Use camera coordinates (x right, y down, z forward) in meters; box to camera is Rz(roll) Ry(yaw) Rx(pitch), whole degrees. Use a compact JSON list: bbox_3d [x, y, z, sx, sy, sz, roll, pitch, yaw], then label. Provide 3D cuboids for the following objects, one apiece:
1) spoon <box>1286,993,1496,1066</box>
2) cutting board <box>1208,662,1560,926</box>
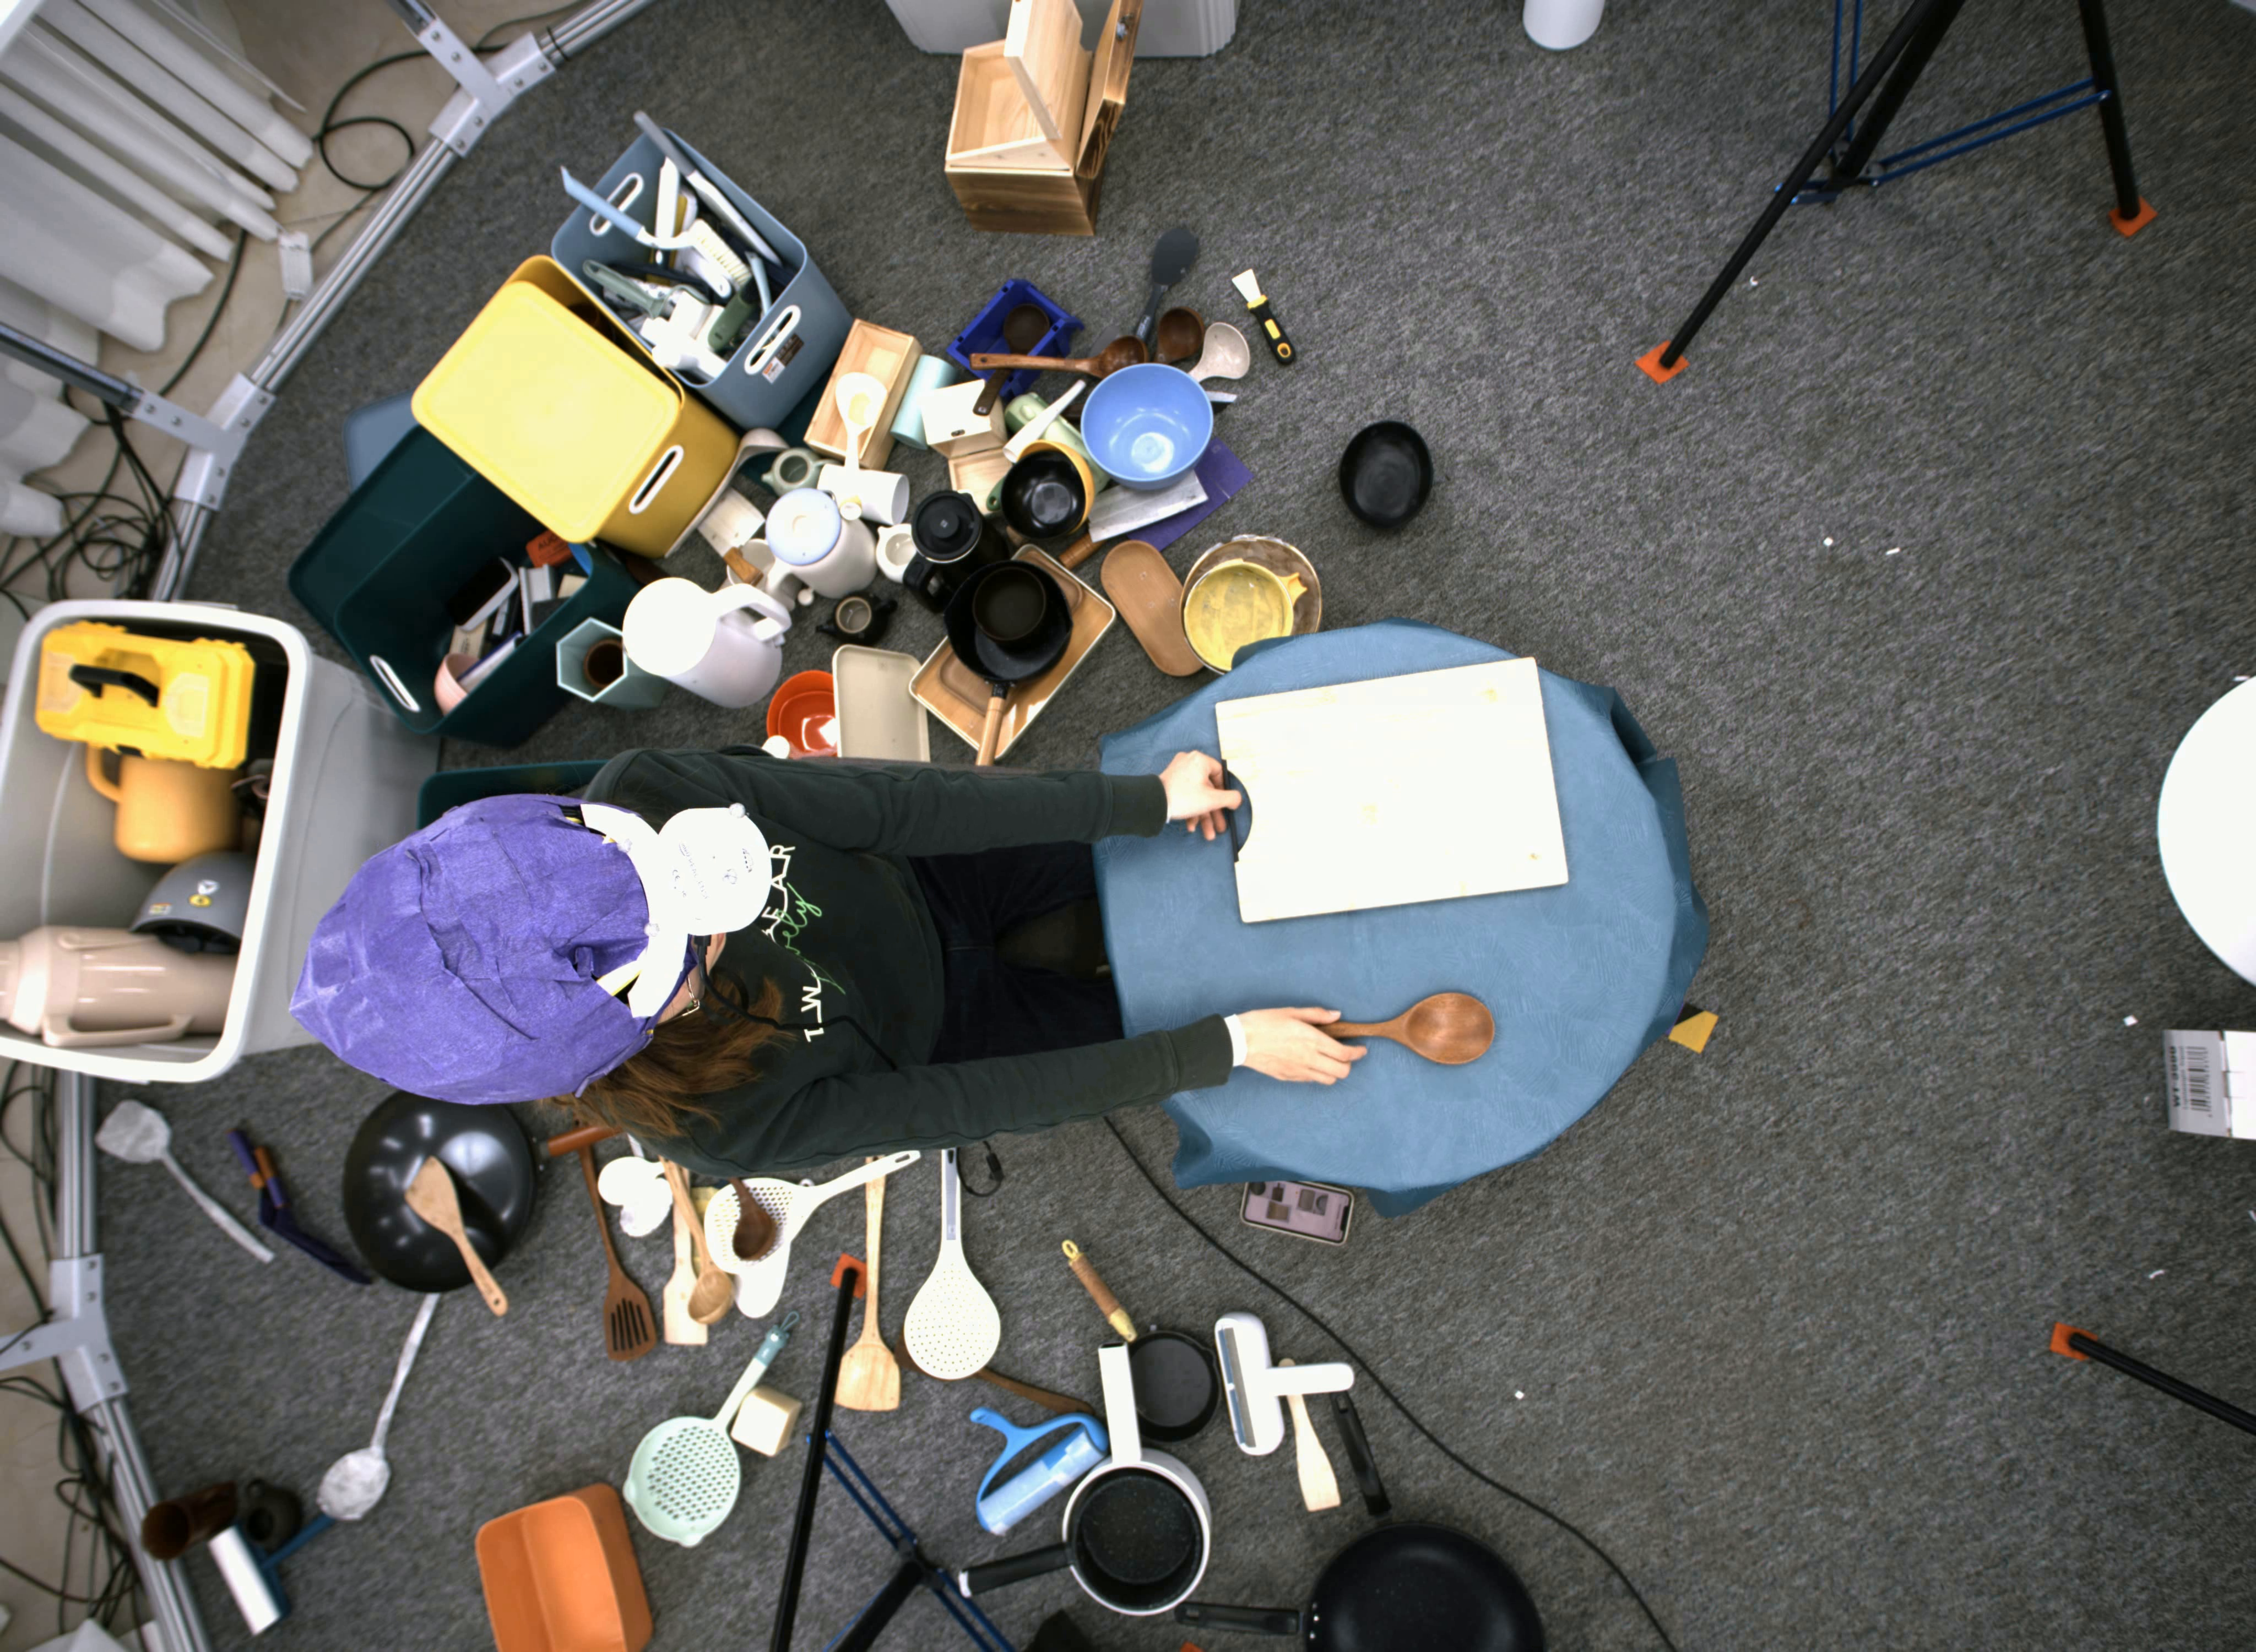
[{"bbox_3d":[0.274,0.213,1.445,0.217,0.017,0.075,-3,87,9],"label":"spoon"},{"bbox_3d":[0.271,-0.034,1.464,0.350,0.023,0.249,-9,84,10],"label":"cutting board"}]
